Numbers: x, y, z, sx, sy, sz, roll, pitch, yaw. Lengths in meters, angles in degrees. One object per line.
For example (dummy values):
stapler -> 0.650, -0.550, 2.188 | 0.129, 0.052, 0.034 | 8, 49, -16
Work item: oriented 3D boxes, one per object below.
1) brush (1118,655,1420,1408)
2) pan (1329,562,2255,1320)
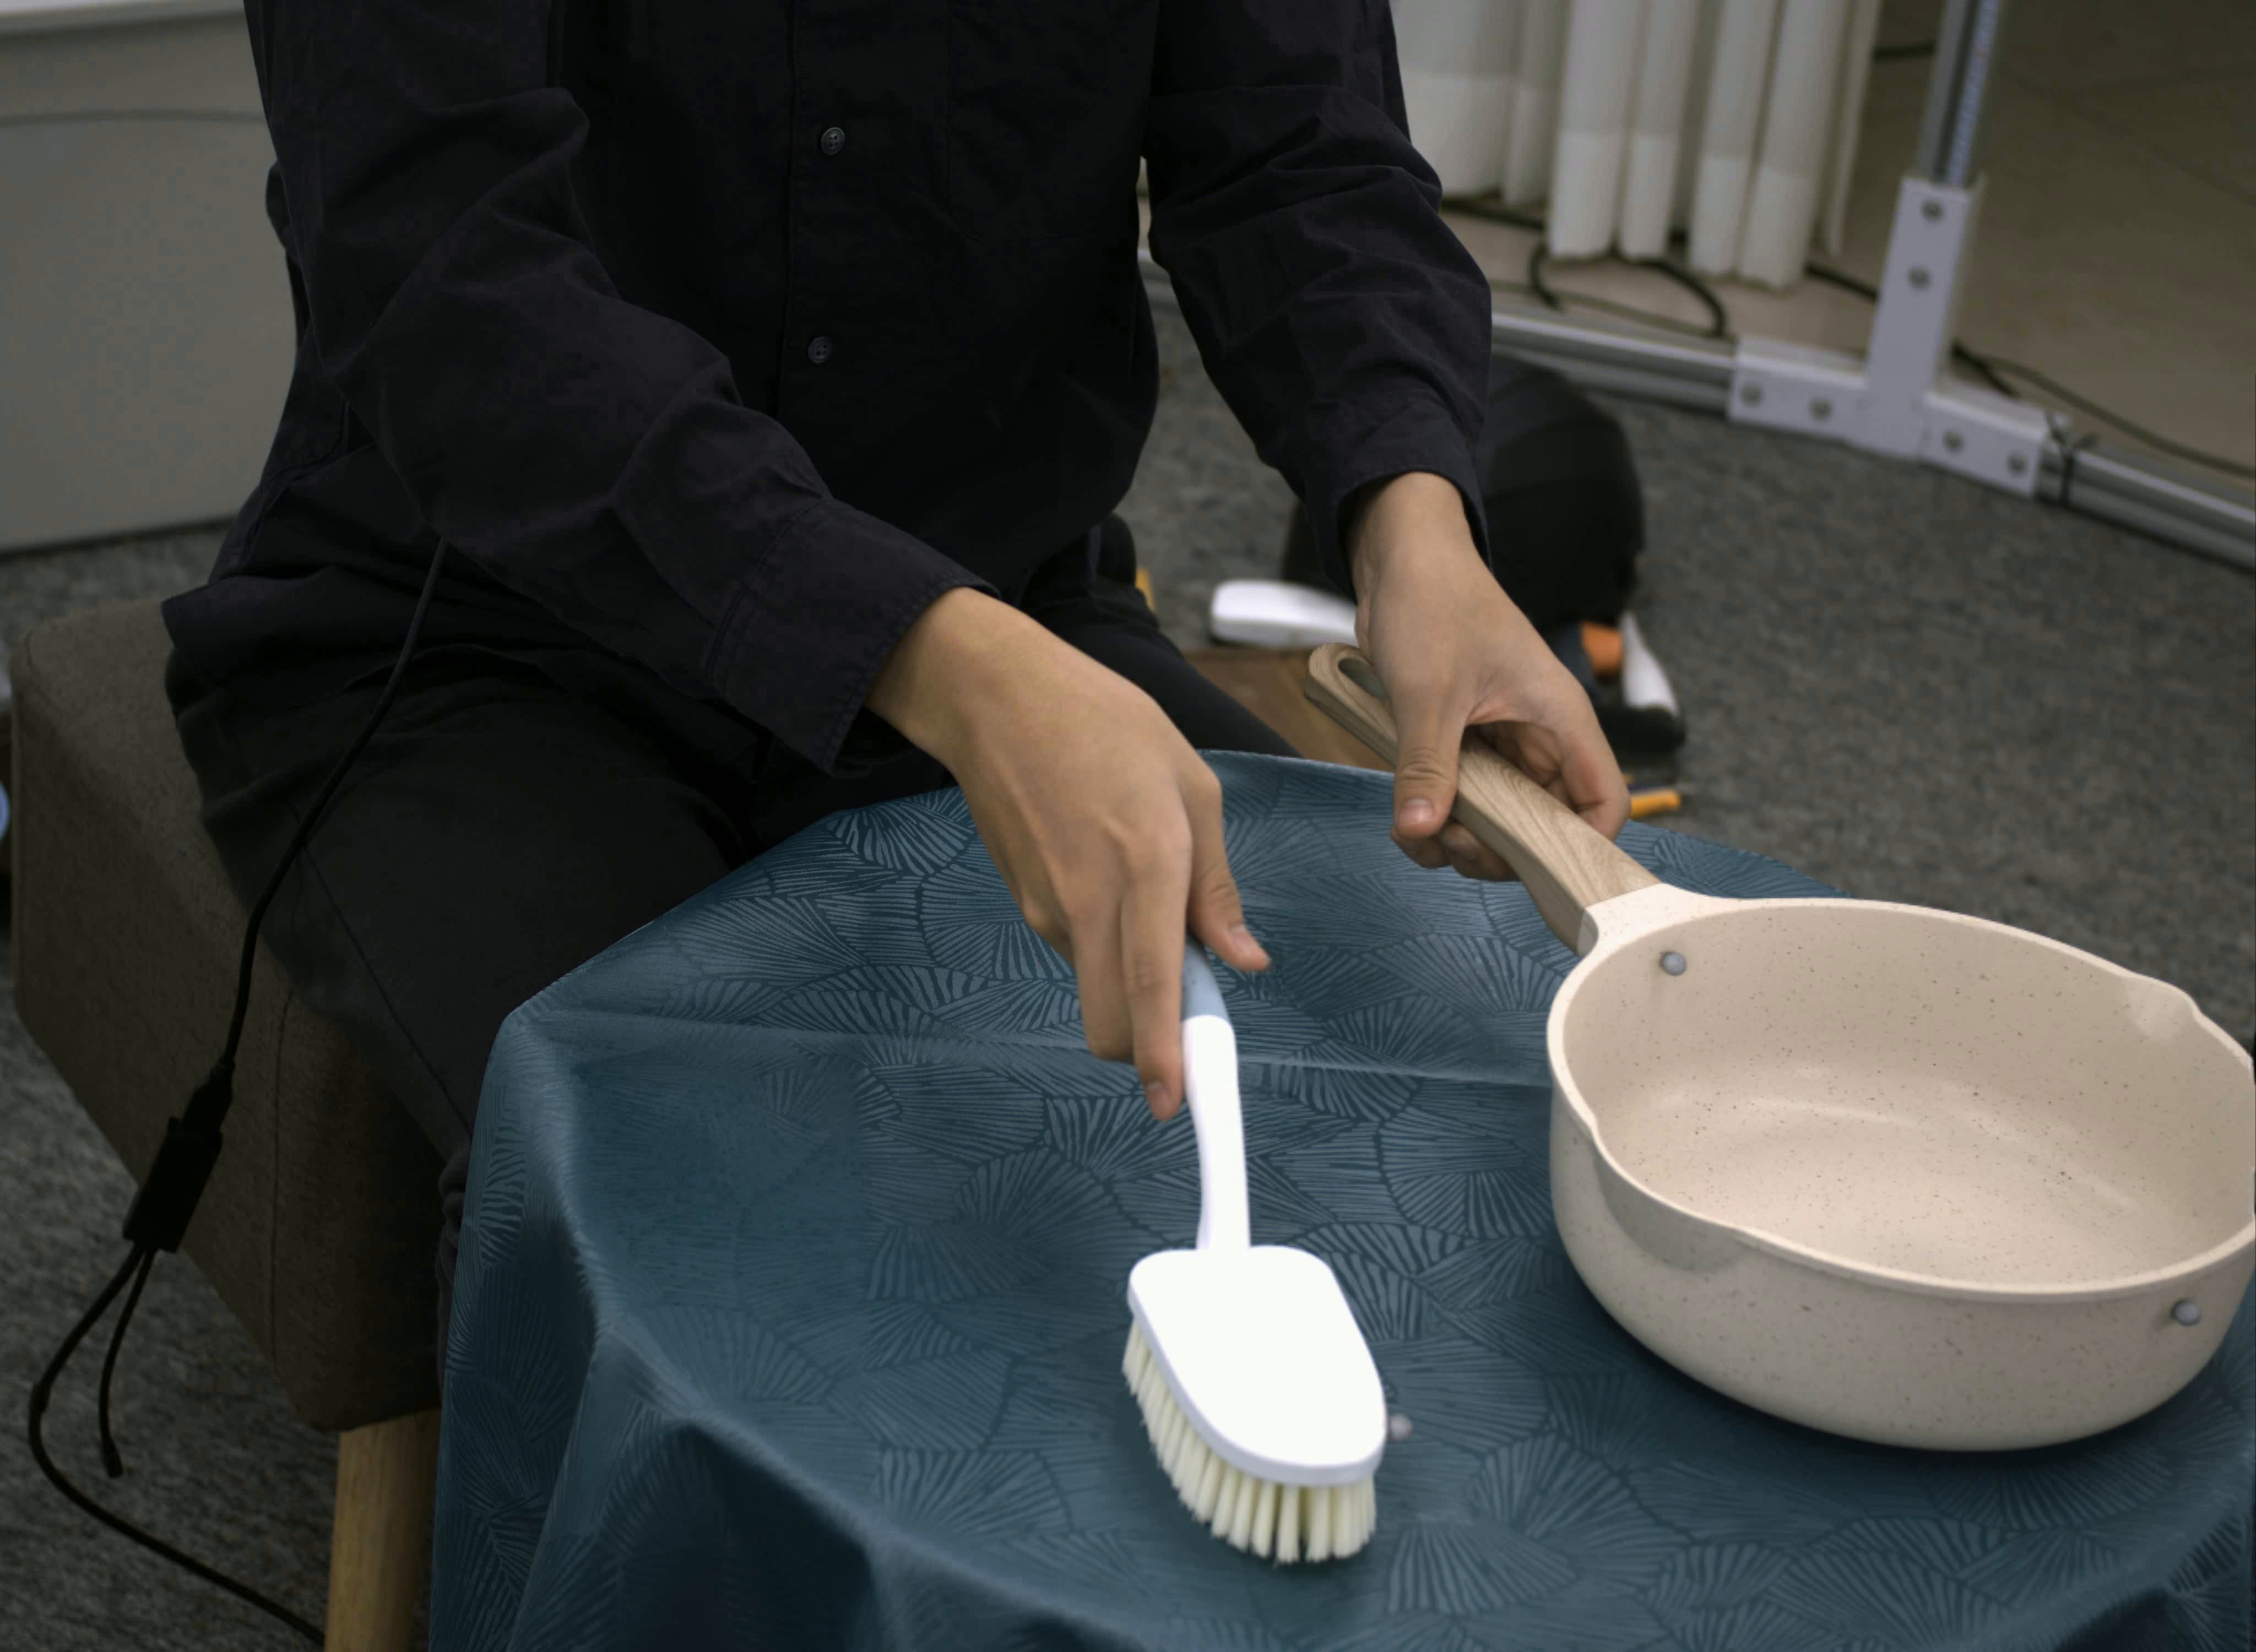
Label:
brush -> 0.039, 0.074, 1.756 | 0.082, 0.084, 0.328 | 33, 26, -36
pan -> 0.218, 0.036, 1.859 | 0.262, 0.101, 0.438 | -17, 35, -37
